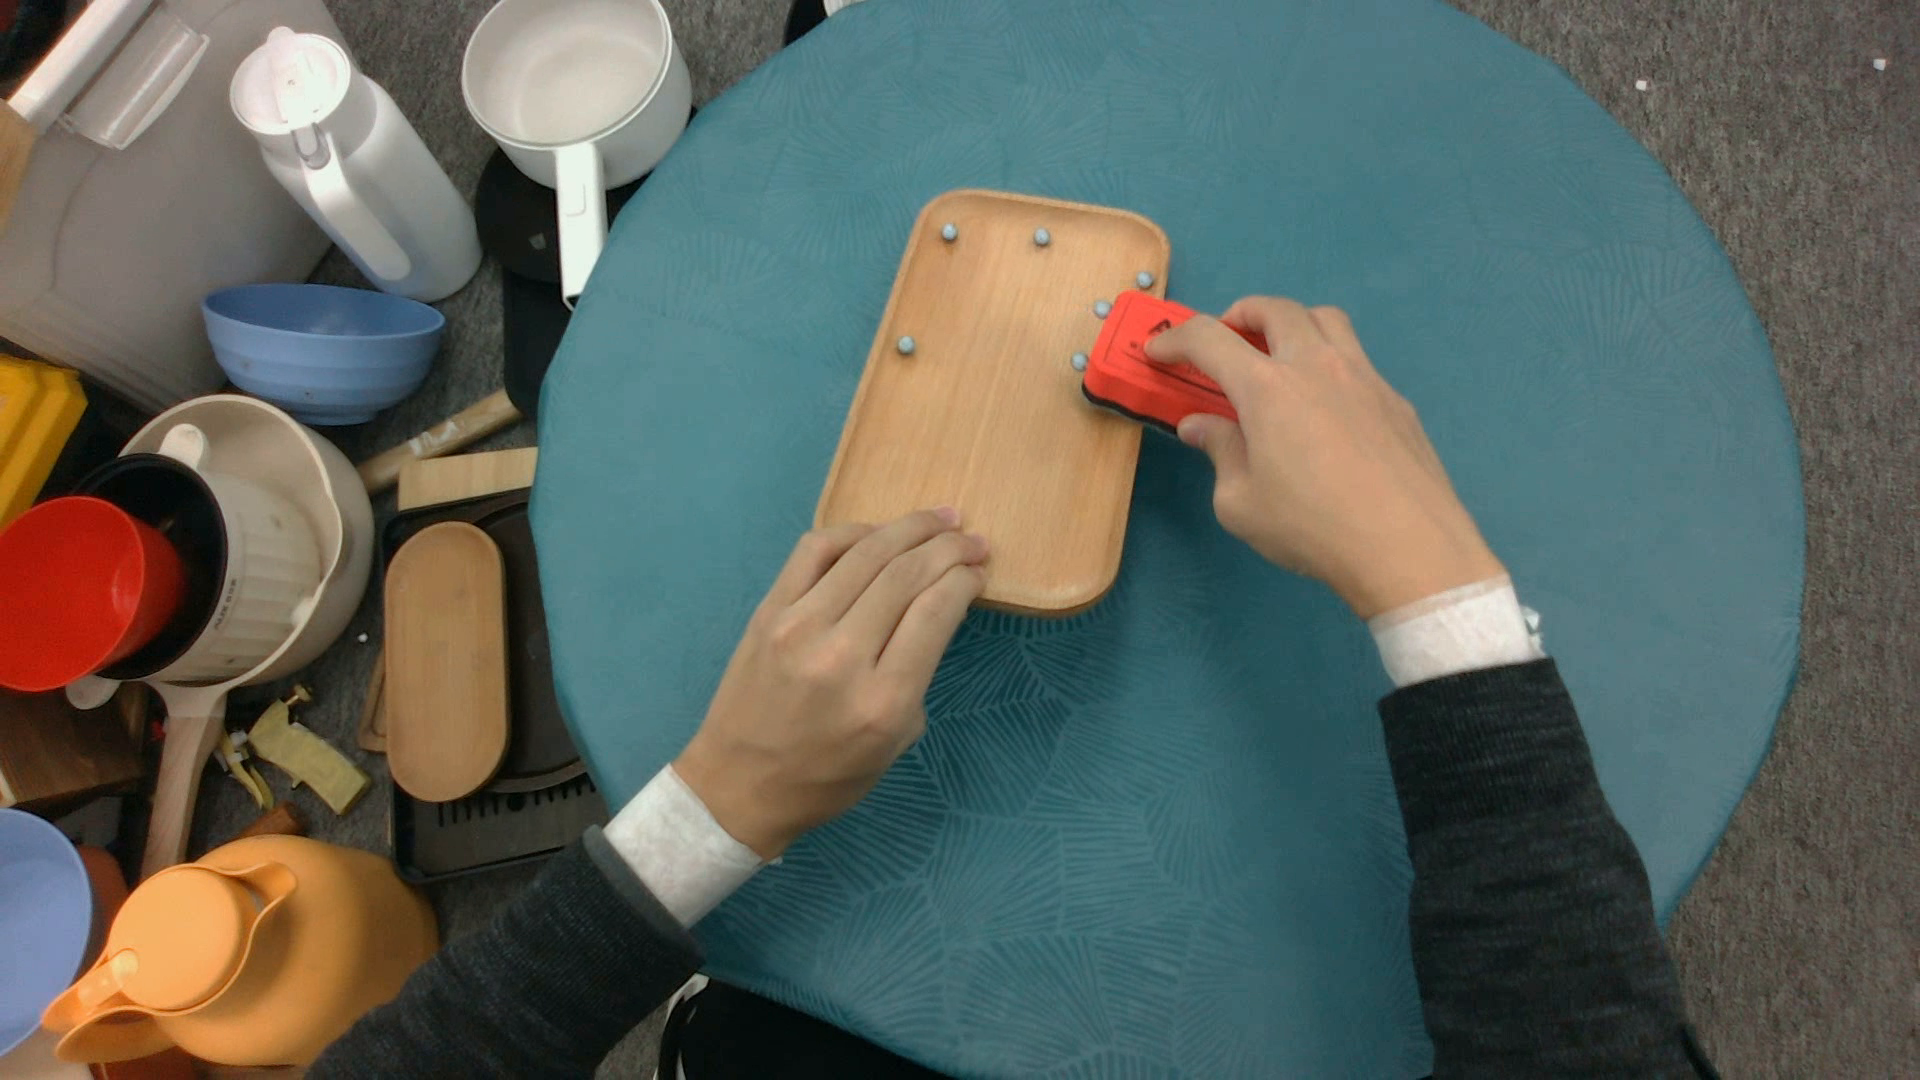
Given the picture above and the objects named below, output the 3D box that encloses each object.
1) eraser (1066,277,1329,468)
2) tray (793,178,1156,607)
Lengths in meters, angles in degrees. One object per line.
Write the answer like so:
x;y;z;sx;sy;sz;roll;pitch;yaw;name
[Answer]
0.104;-0.075;0.606;0.108;0.023;0.059;22;55;6;eraser
0.014;-0.077;0.621;0.130;0.023;0.252;9;53;7;tray
